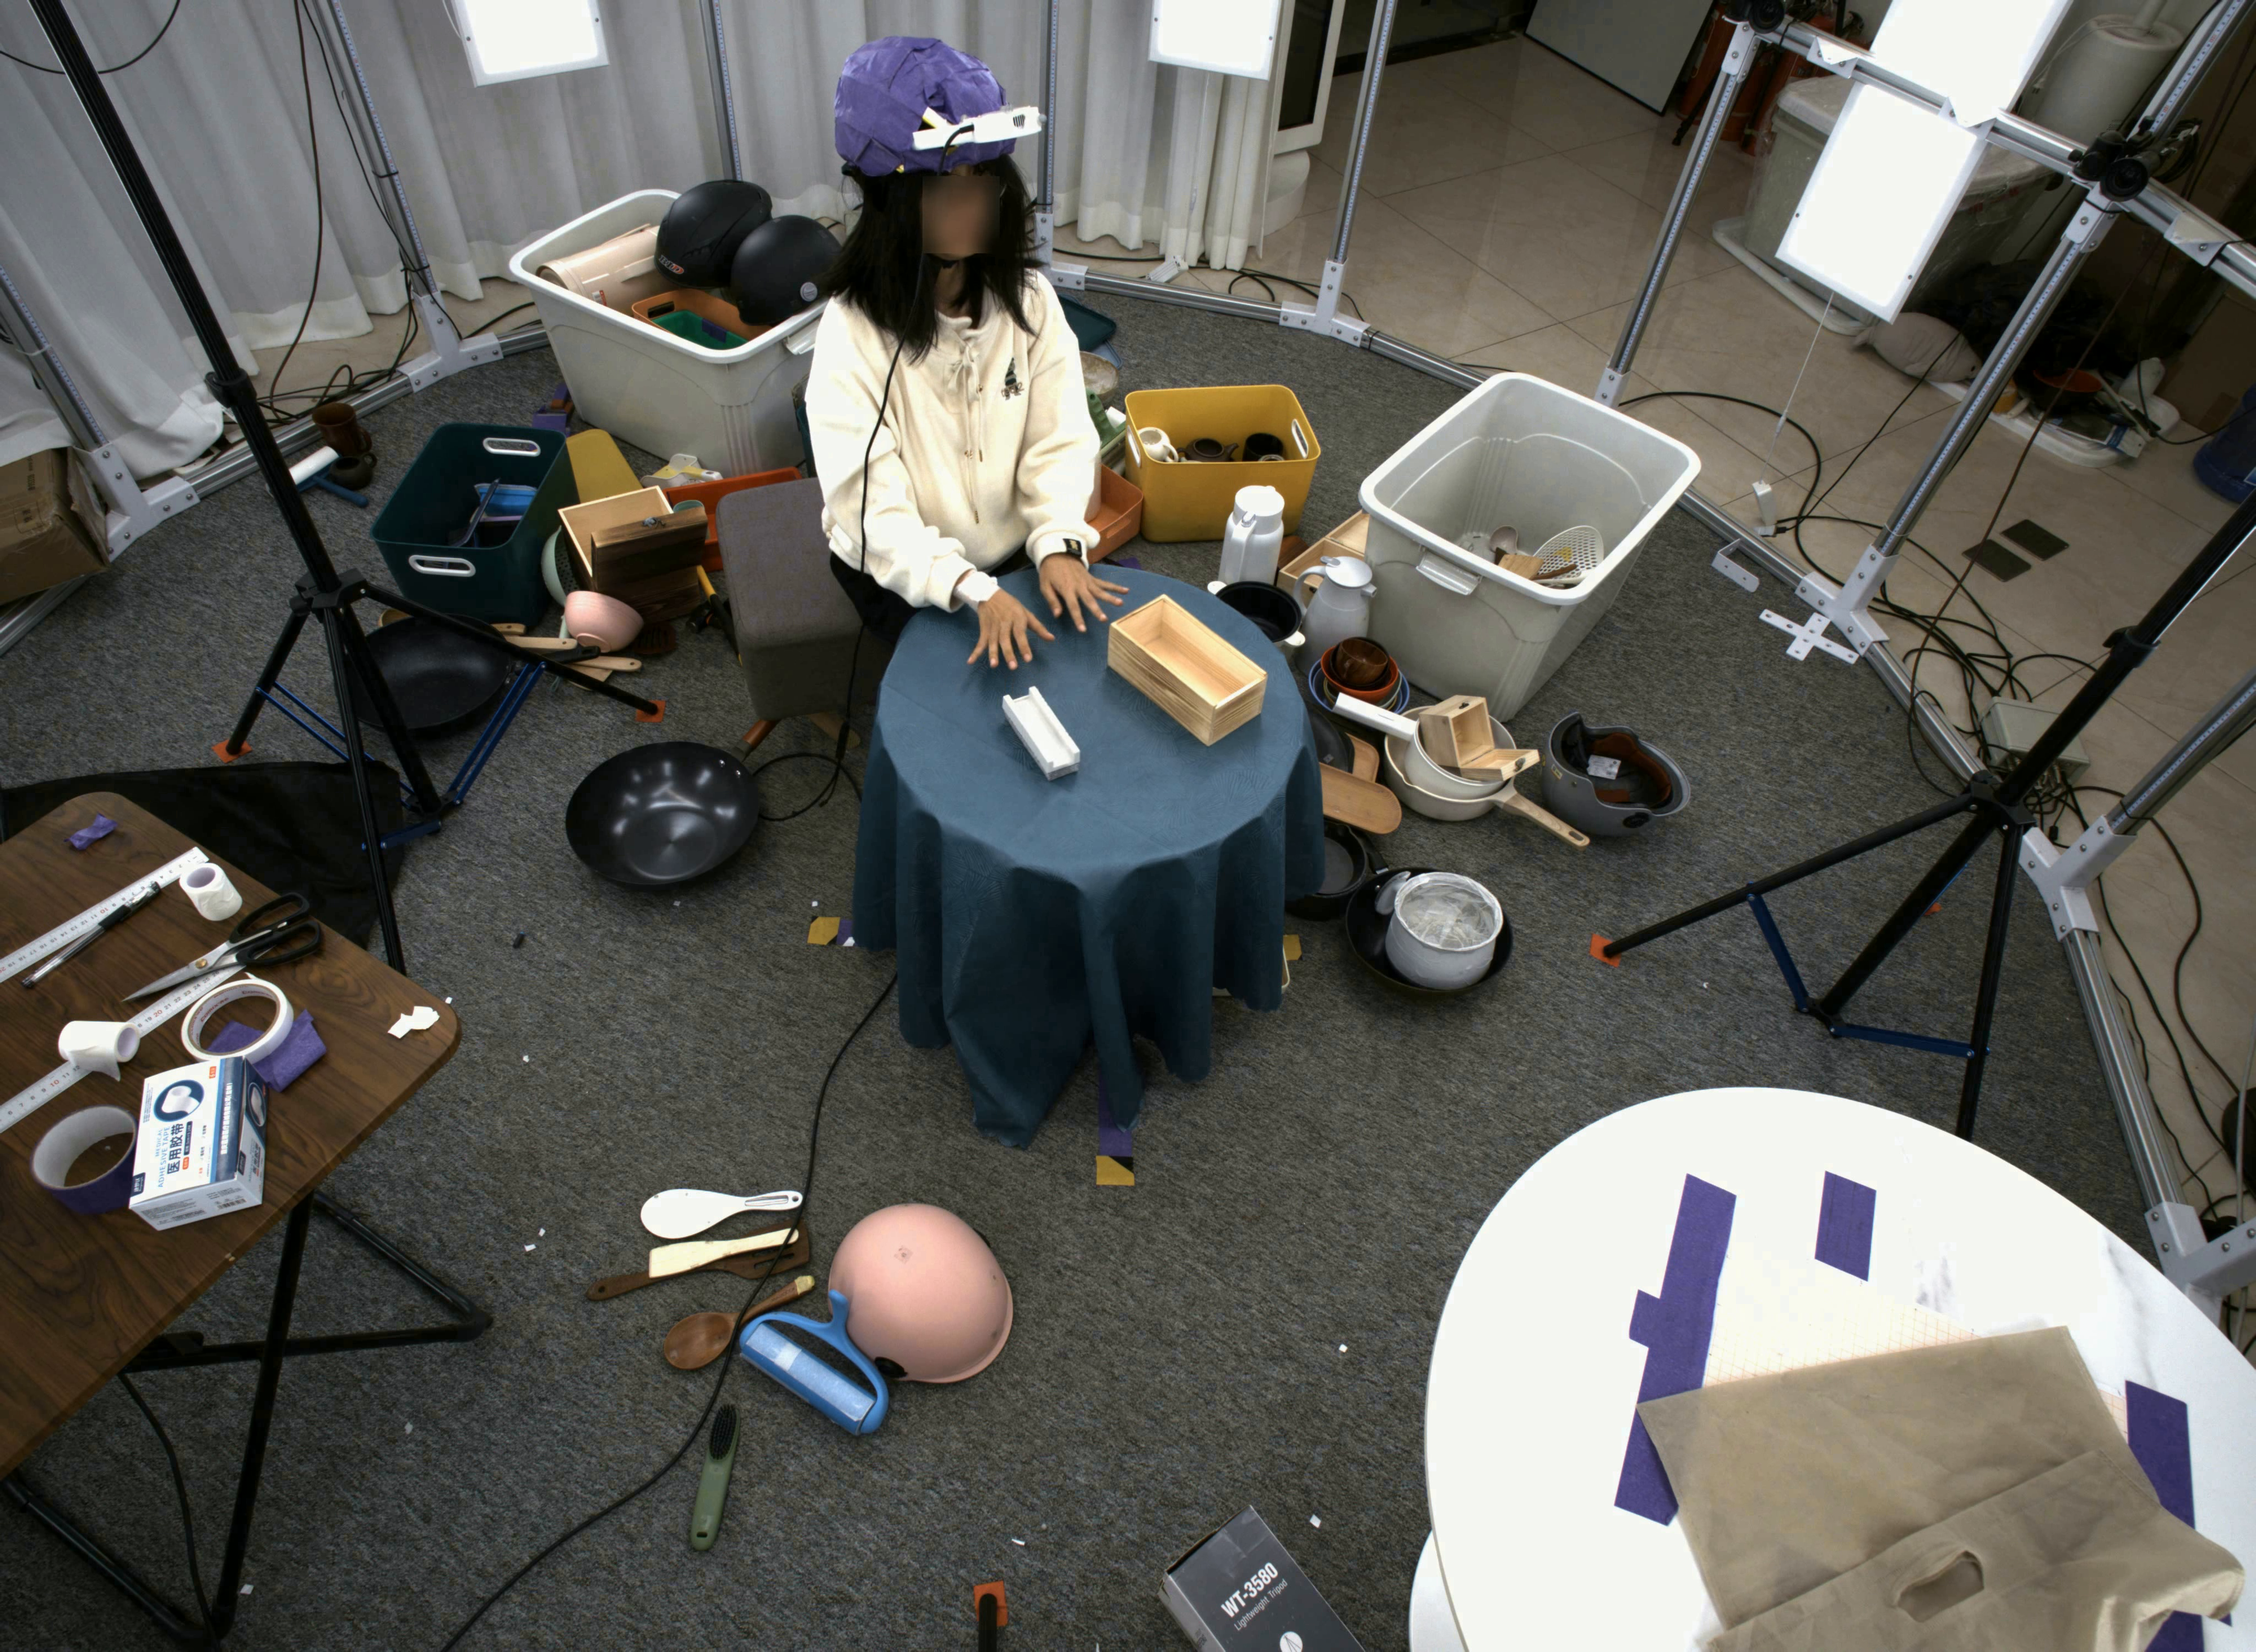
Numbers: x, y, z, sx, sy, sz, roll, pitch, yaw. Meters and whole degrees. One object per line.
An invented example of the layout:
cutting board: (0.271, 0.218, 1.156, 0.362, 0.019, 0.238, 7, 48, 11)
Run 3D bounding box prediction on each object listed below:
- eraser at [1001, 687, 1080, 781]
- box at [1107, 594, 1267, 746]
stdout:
eraser: (-0.120, -0.126, 1.740, 0.050, 0.045, 0.137, -24, 56, -20)
box: (0.080, -0.224, 1.819, 0.108, 0.078, 0.215, -33, 59, -28)
